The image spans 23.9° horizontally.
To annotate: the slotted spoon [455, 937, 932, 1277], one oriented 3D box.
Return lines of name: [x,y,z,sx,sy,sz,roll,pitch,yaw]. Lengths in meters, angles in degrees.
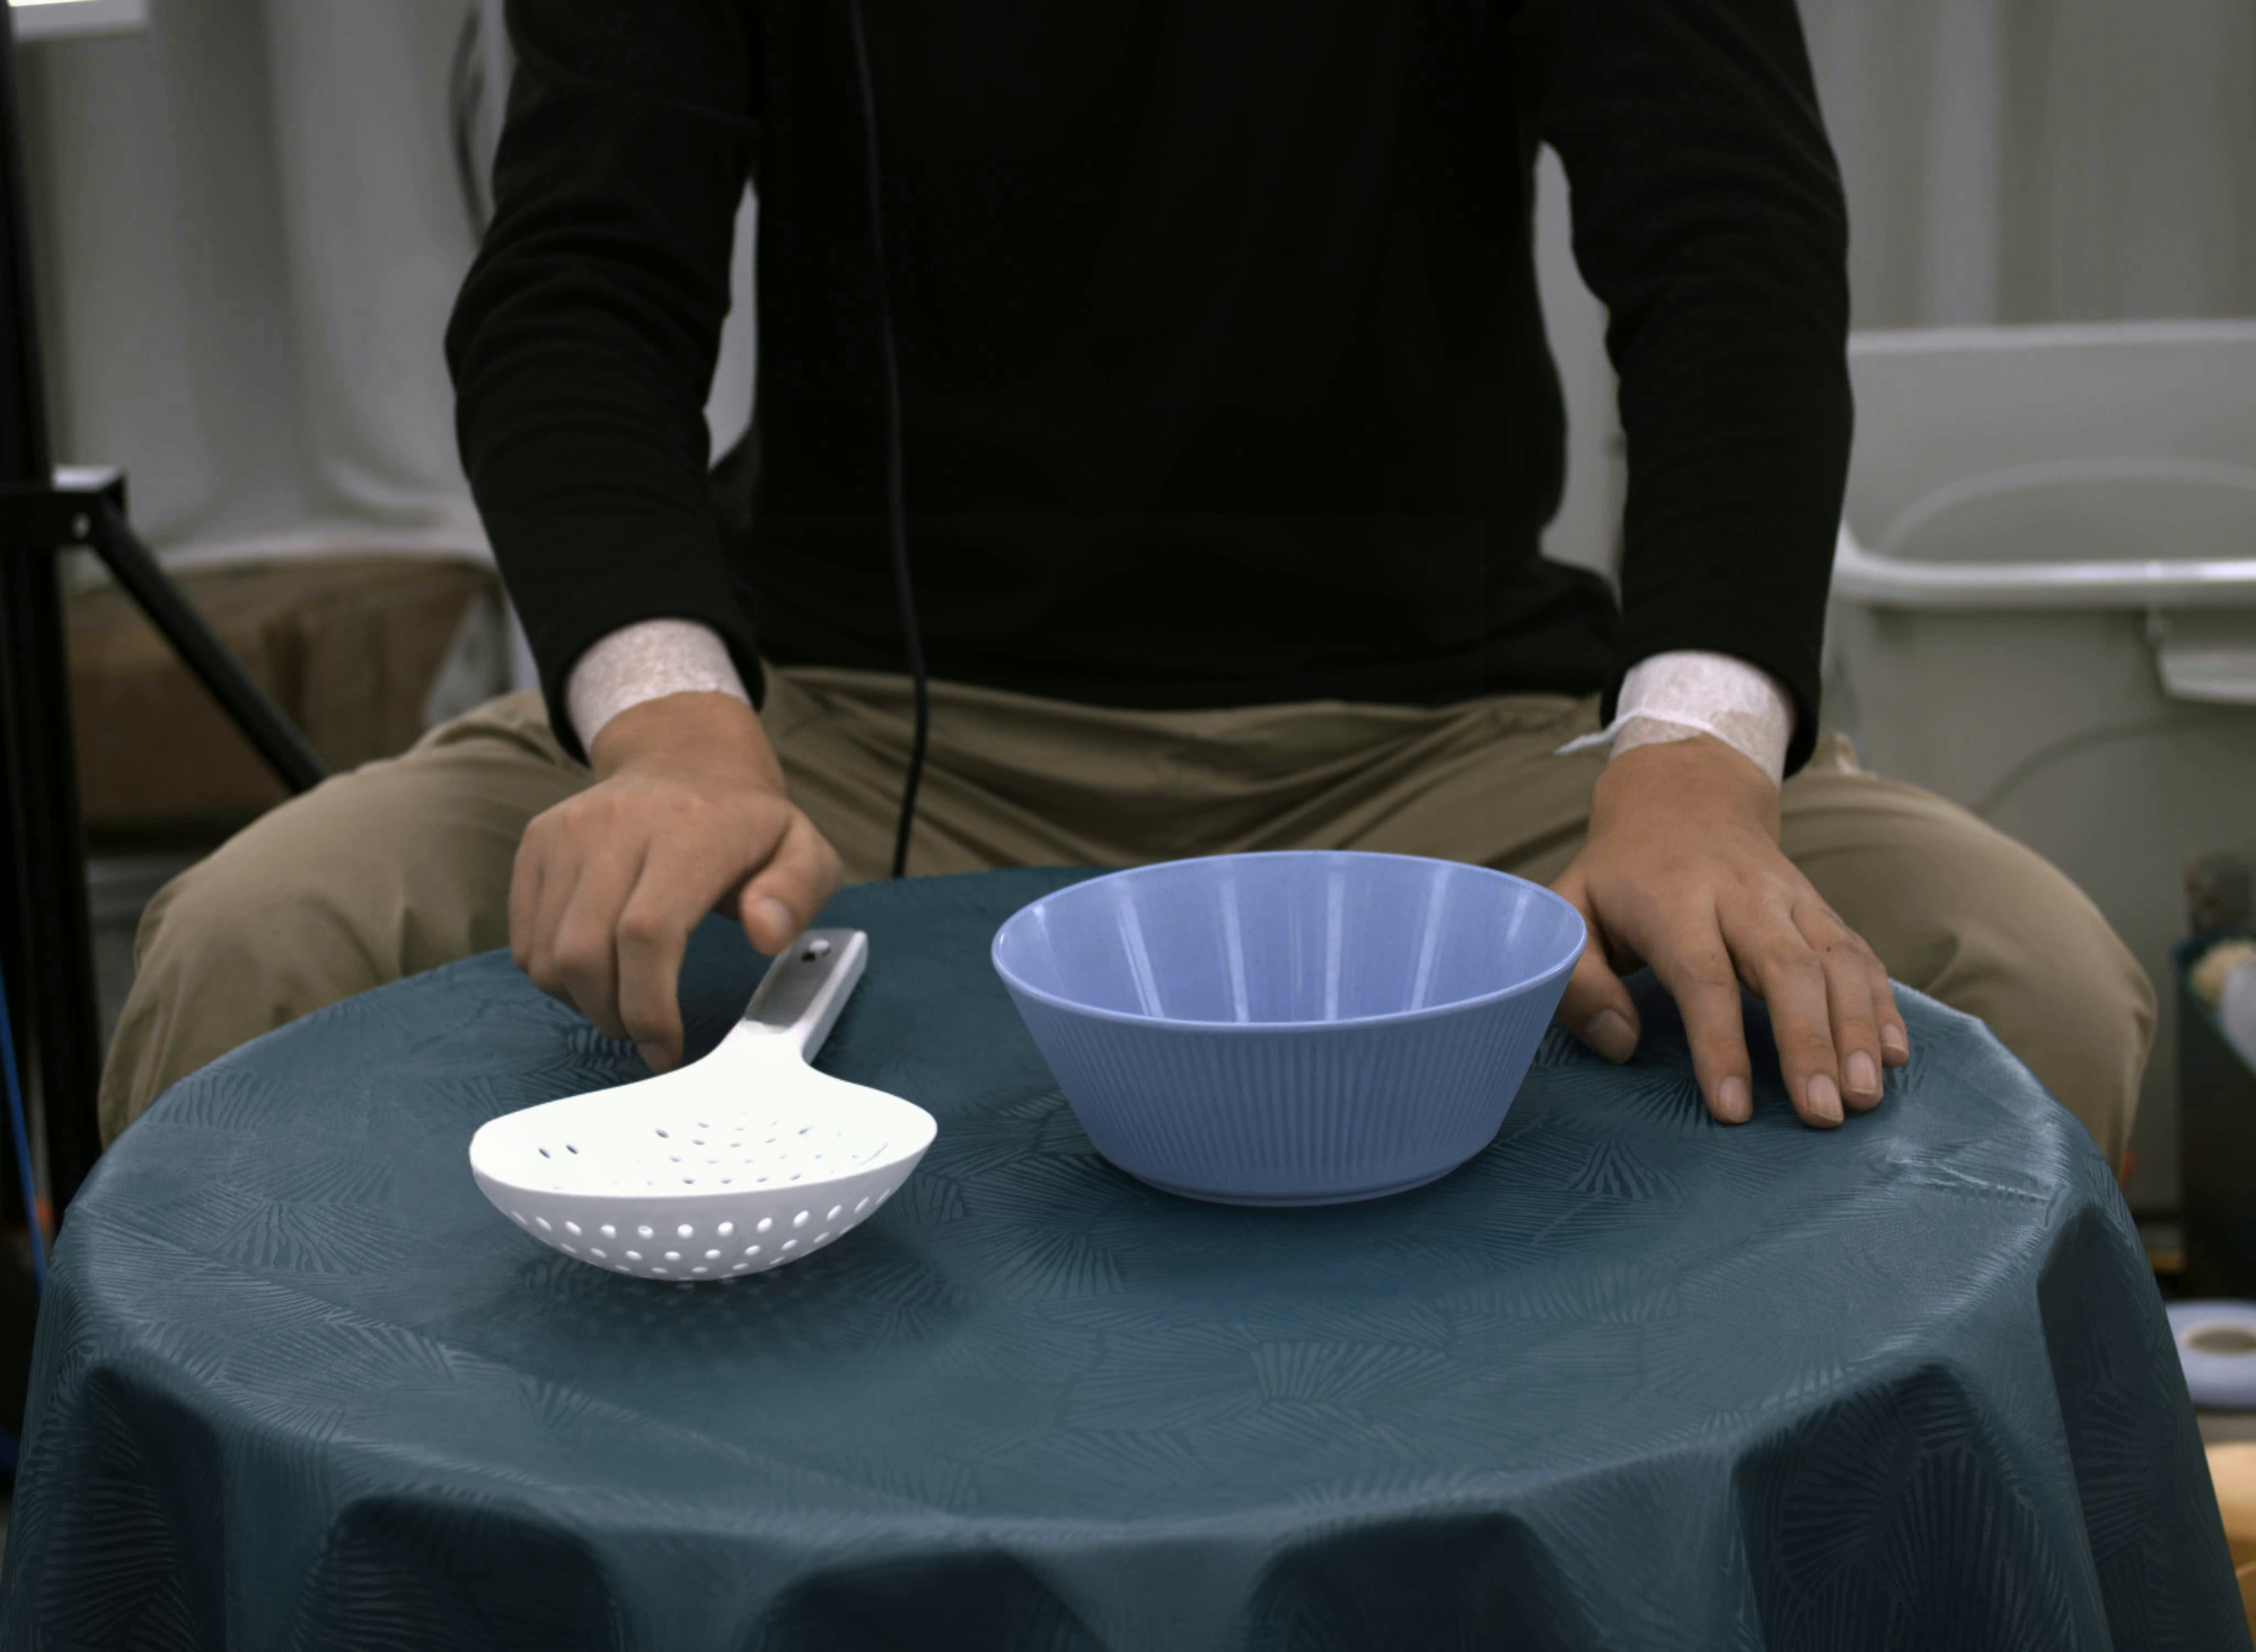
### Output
slotted spoon: [-0.114,0.075,1.610,0.136,0.046,0.350,-2,15,5]

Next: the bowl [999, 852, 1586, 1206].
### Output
bowl: [0.049,0.063,1.580,0.175,0.070,0.177,-2,15,-1]
